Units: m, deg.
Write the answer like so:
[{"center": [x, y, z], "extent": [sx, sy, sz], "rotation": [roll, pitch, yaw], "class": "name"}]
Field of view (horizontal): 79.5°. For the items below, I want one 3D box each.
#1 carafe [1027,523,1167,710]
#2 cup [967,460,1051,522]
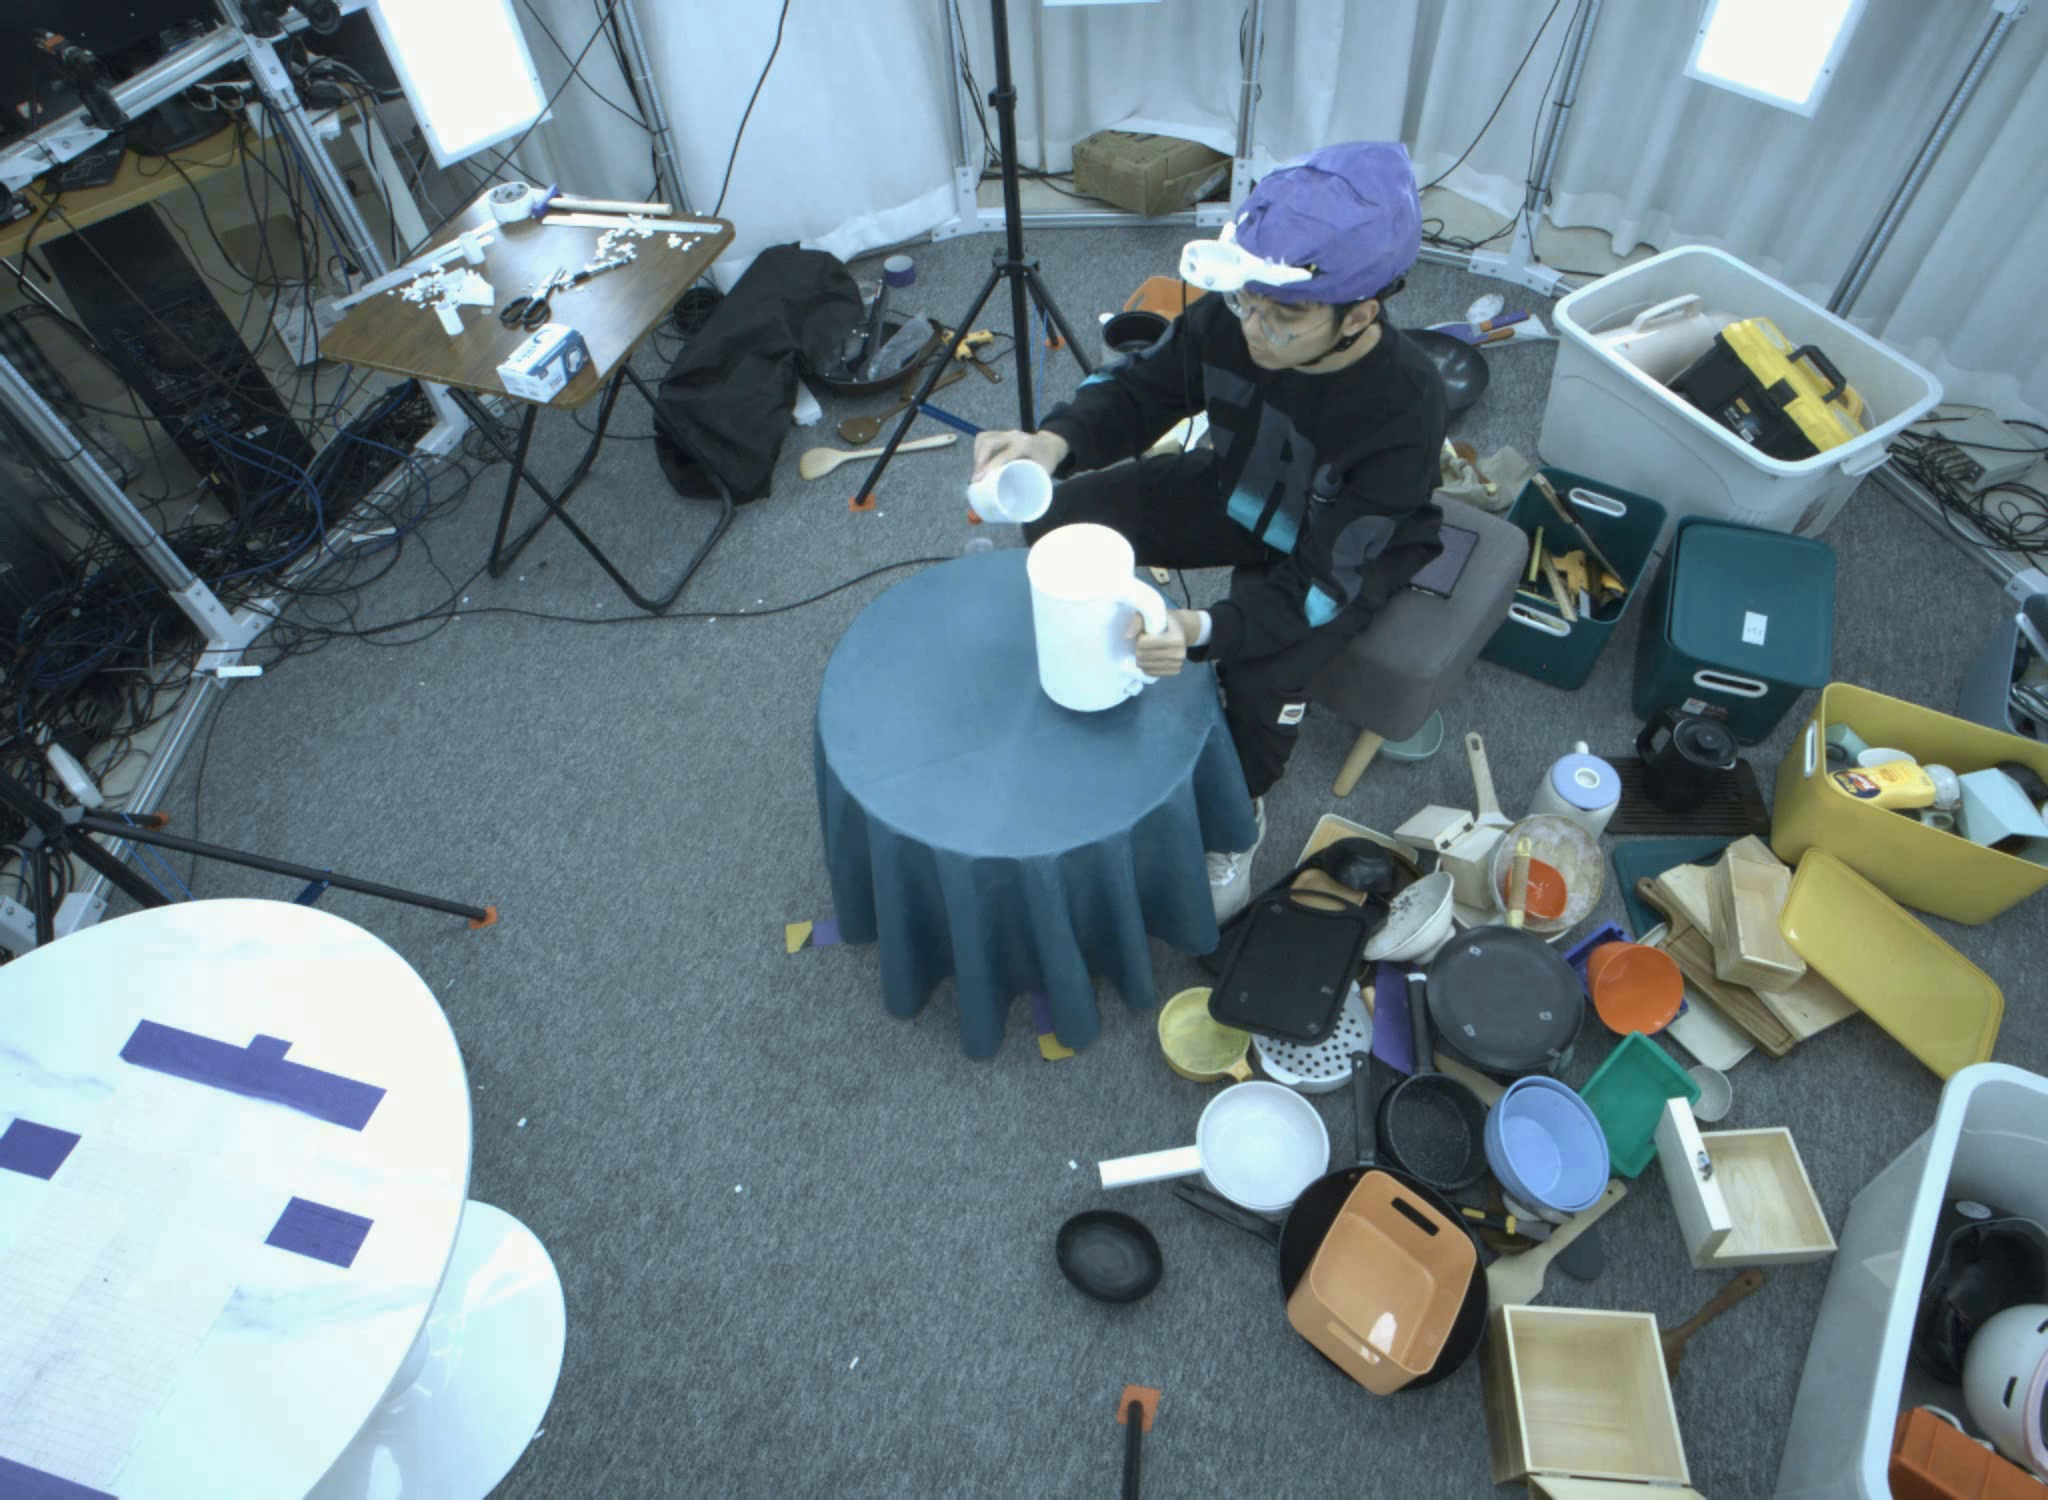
[{"center": [0.104, -0.171, 1.711], "extent": [0.209, 0.243, 0.153], "rotation": [32, 65, 26], "class": "carafe"}, {"center": [-0.025, -0.349, 1.664], "extent": [0.082, 0.082, 0.123], "rotation": [-30, 17, -17], "class": "cup"}]
